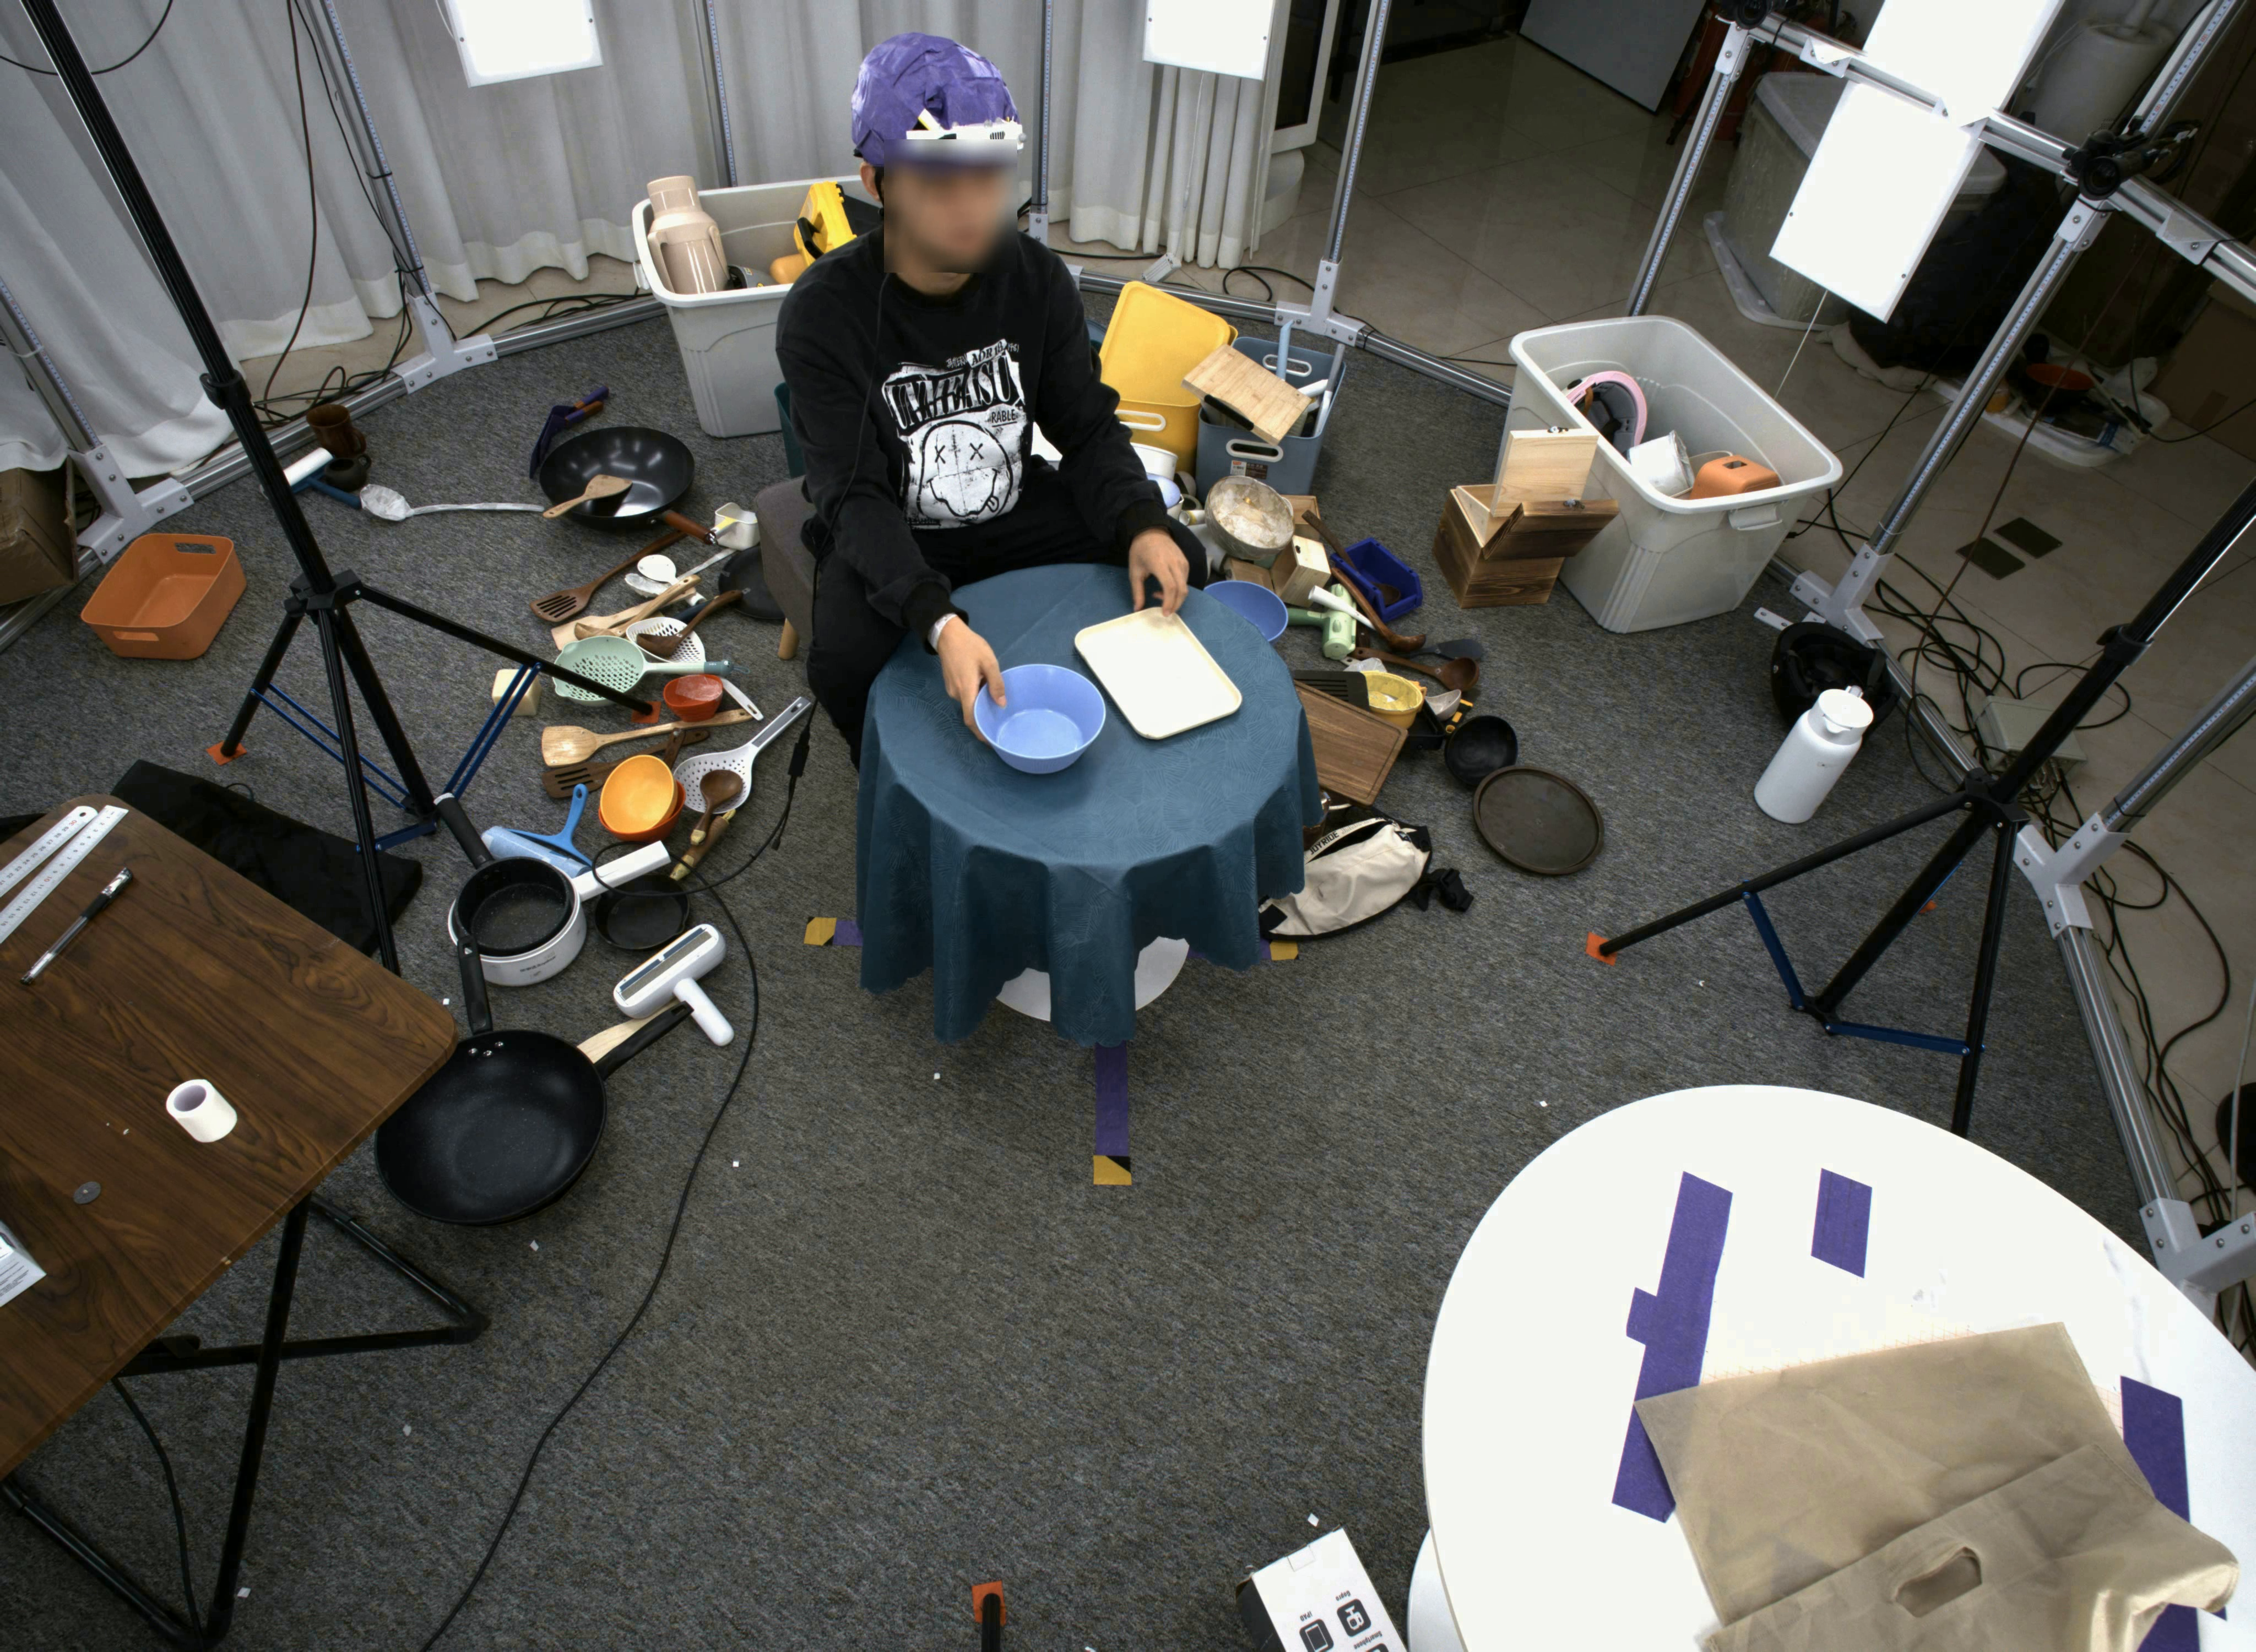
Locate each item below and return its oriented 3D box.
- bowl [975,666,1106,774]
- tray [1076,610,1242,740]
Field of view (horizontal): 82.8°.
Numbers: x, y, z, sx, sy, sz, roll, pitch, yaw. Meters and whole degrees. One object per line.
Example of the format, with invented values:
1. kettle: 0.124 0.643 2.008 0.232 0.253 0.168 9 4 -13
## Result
1. bowl: -0.120 -0.135 1.748 0.176 0.068 0.180 2 49 -3
2. tray: 0.043 -0.221 1.869 0.171 0.017 0.245 -20 53 -20
